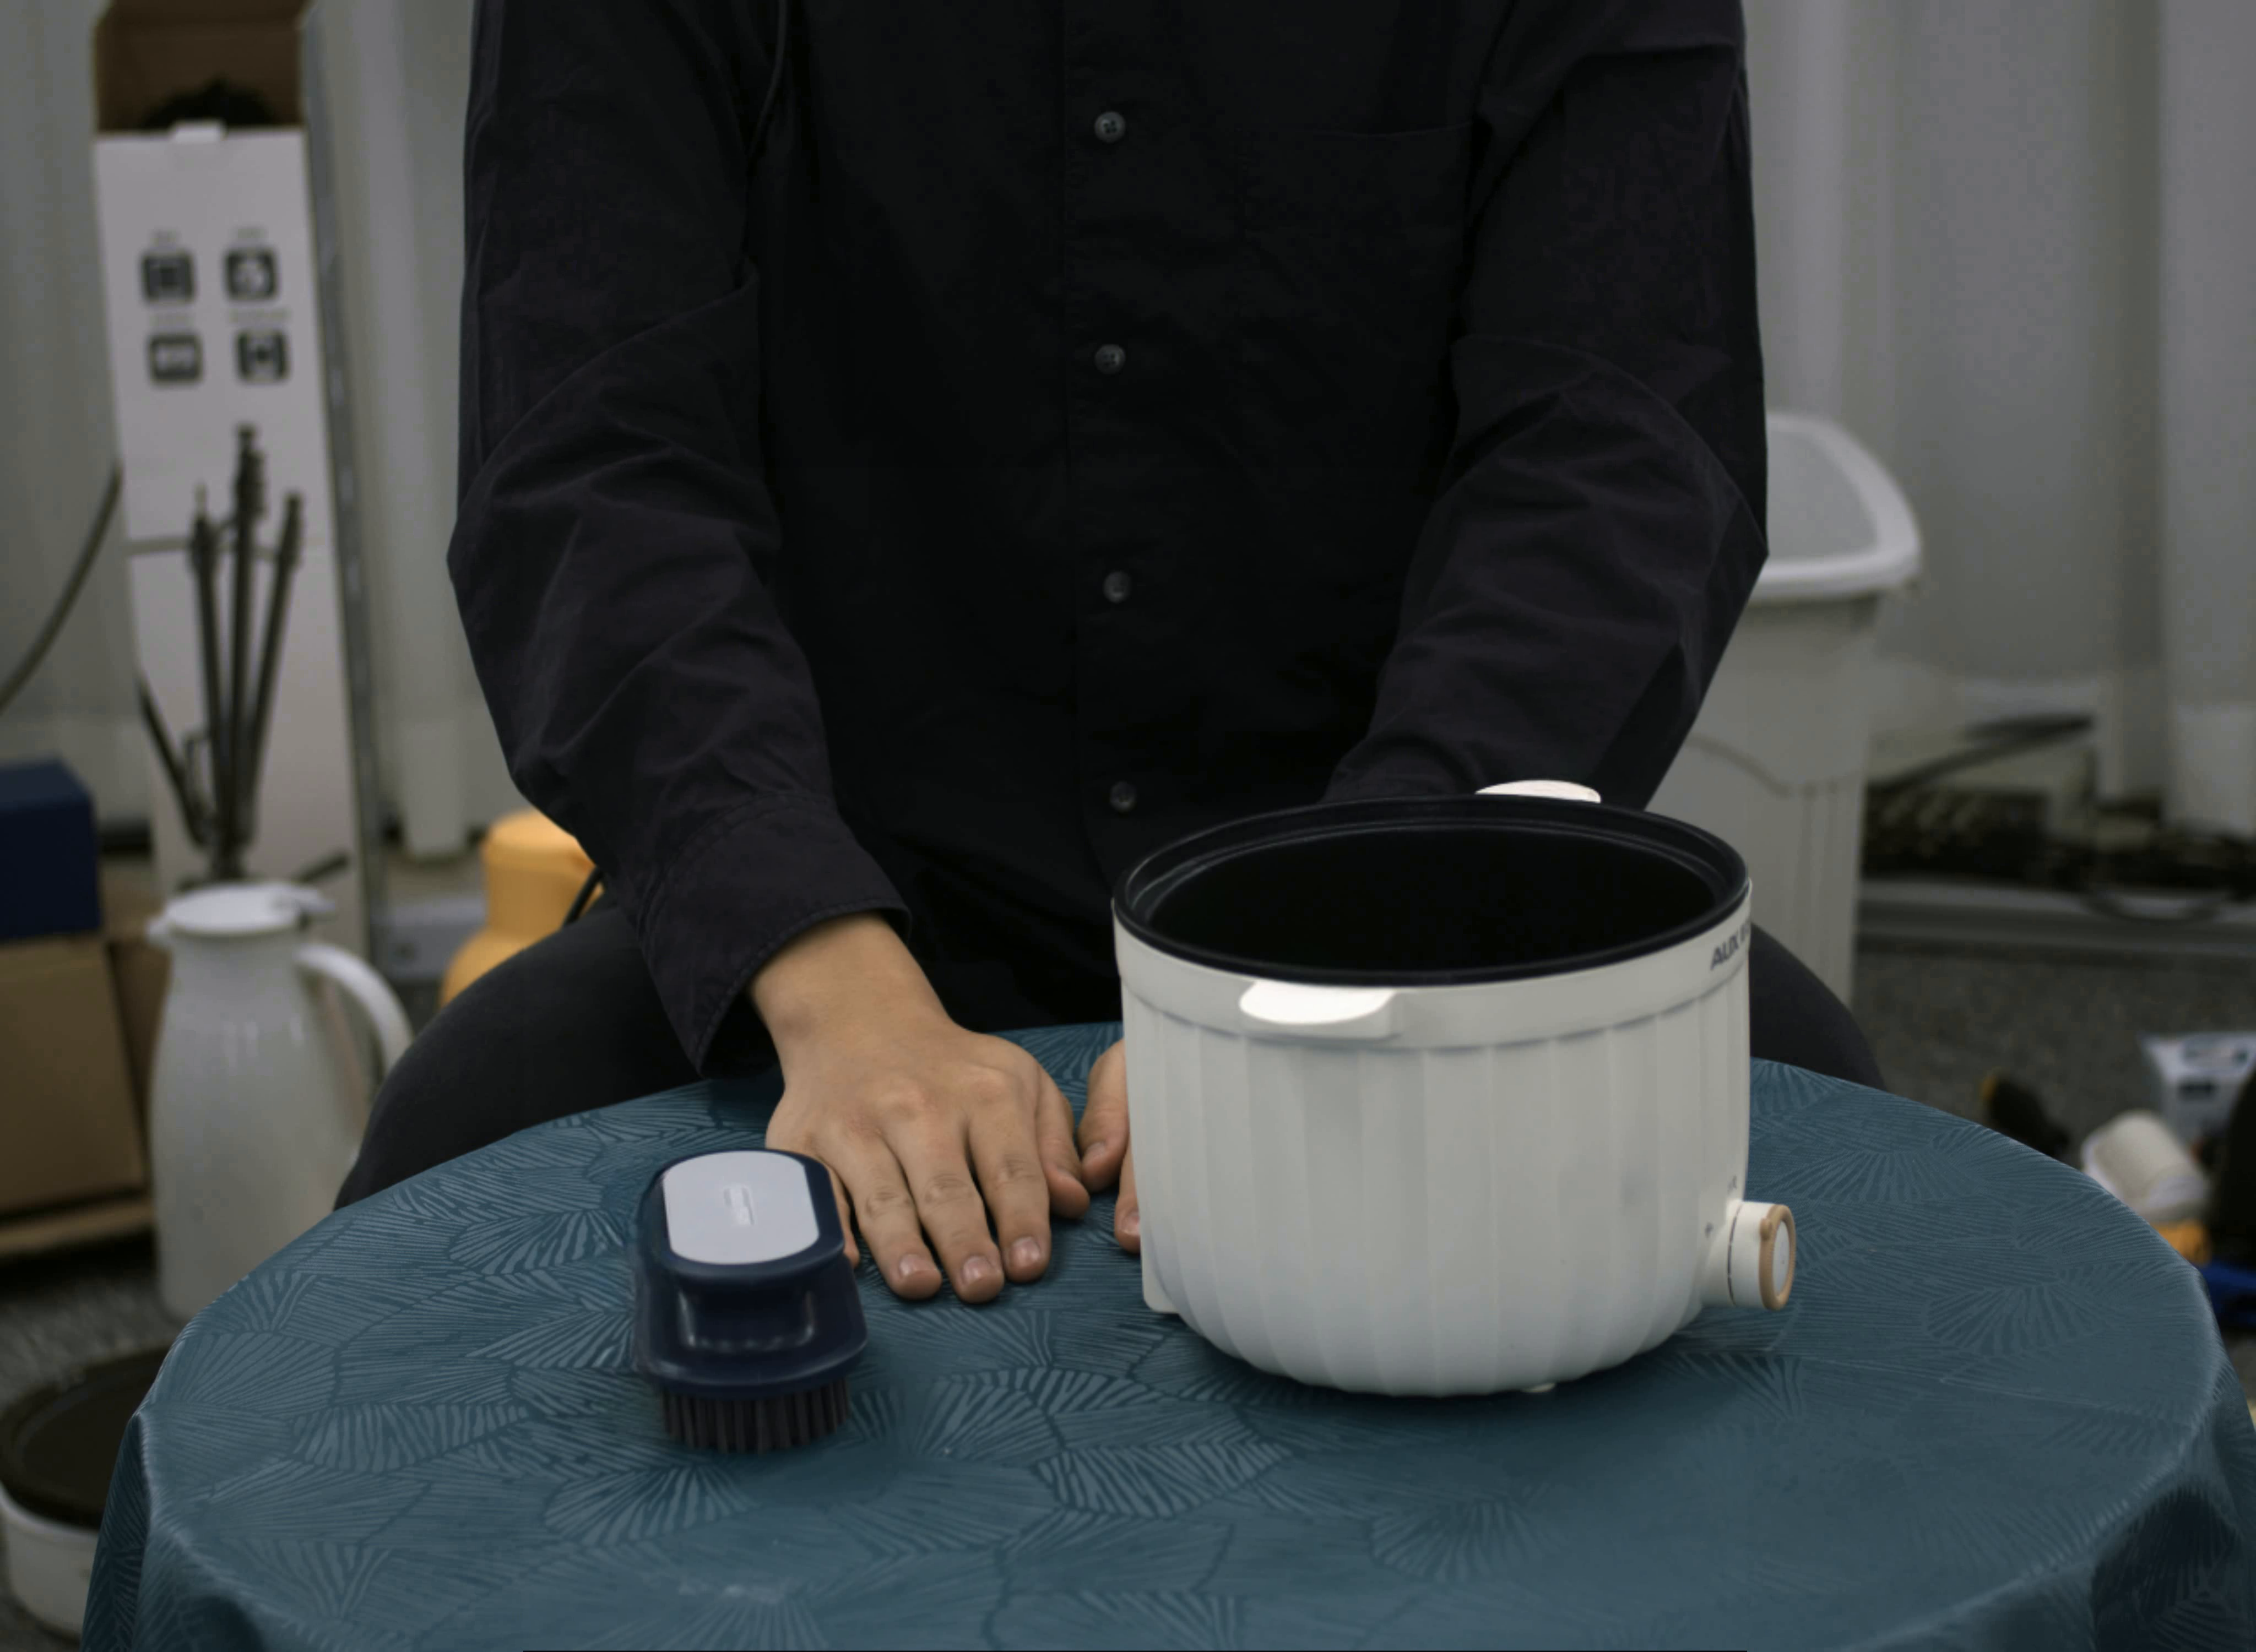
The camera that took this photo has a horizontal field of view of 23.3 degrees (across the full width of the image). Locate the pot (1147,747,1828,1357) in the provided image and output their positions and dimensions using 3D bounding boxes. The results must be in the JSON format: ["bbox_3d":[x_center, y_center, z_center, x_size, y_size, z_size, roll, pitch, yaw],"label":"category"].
[{"bbox_3d":[0.104,0.069,1.581,0.190,0.142,0.241,0,16,21],"label":"pot"}]

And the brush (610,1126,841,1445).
[{"bbox_3d":[-0.116,0.133,1.575,0.067,0.061,0.122,-7,19,-1],"label":"brush"}]
